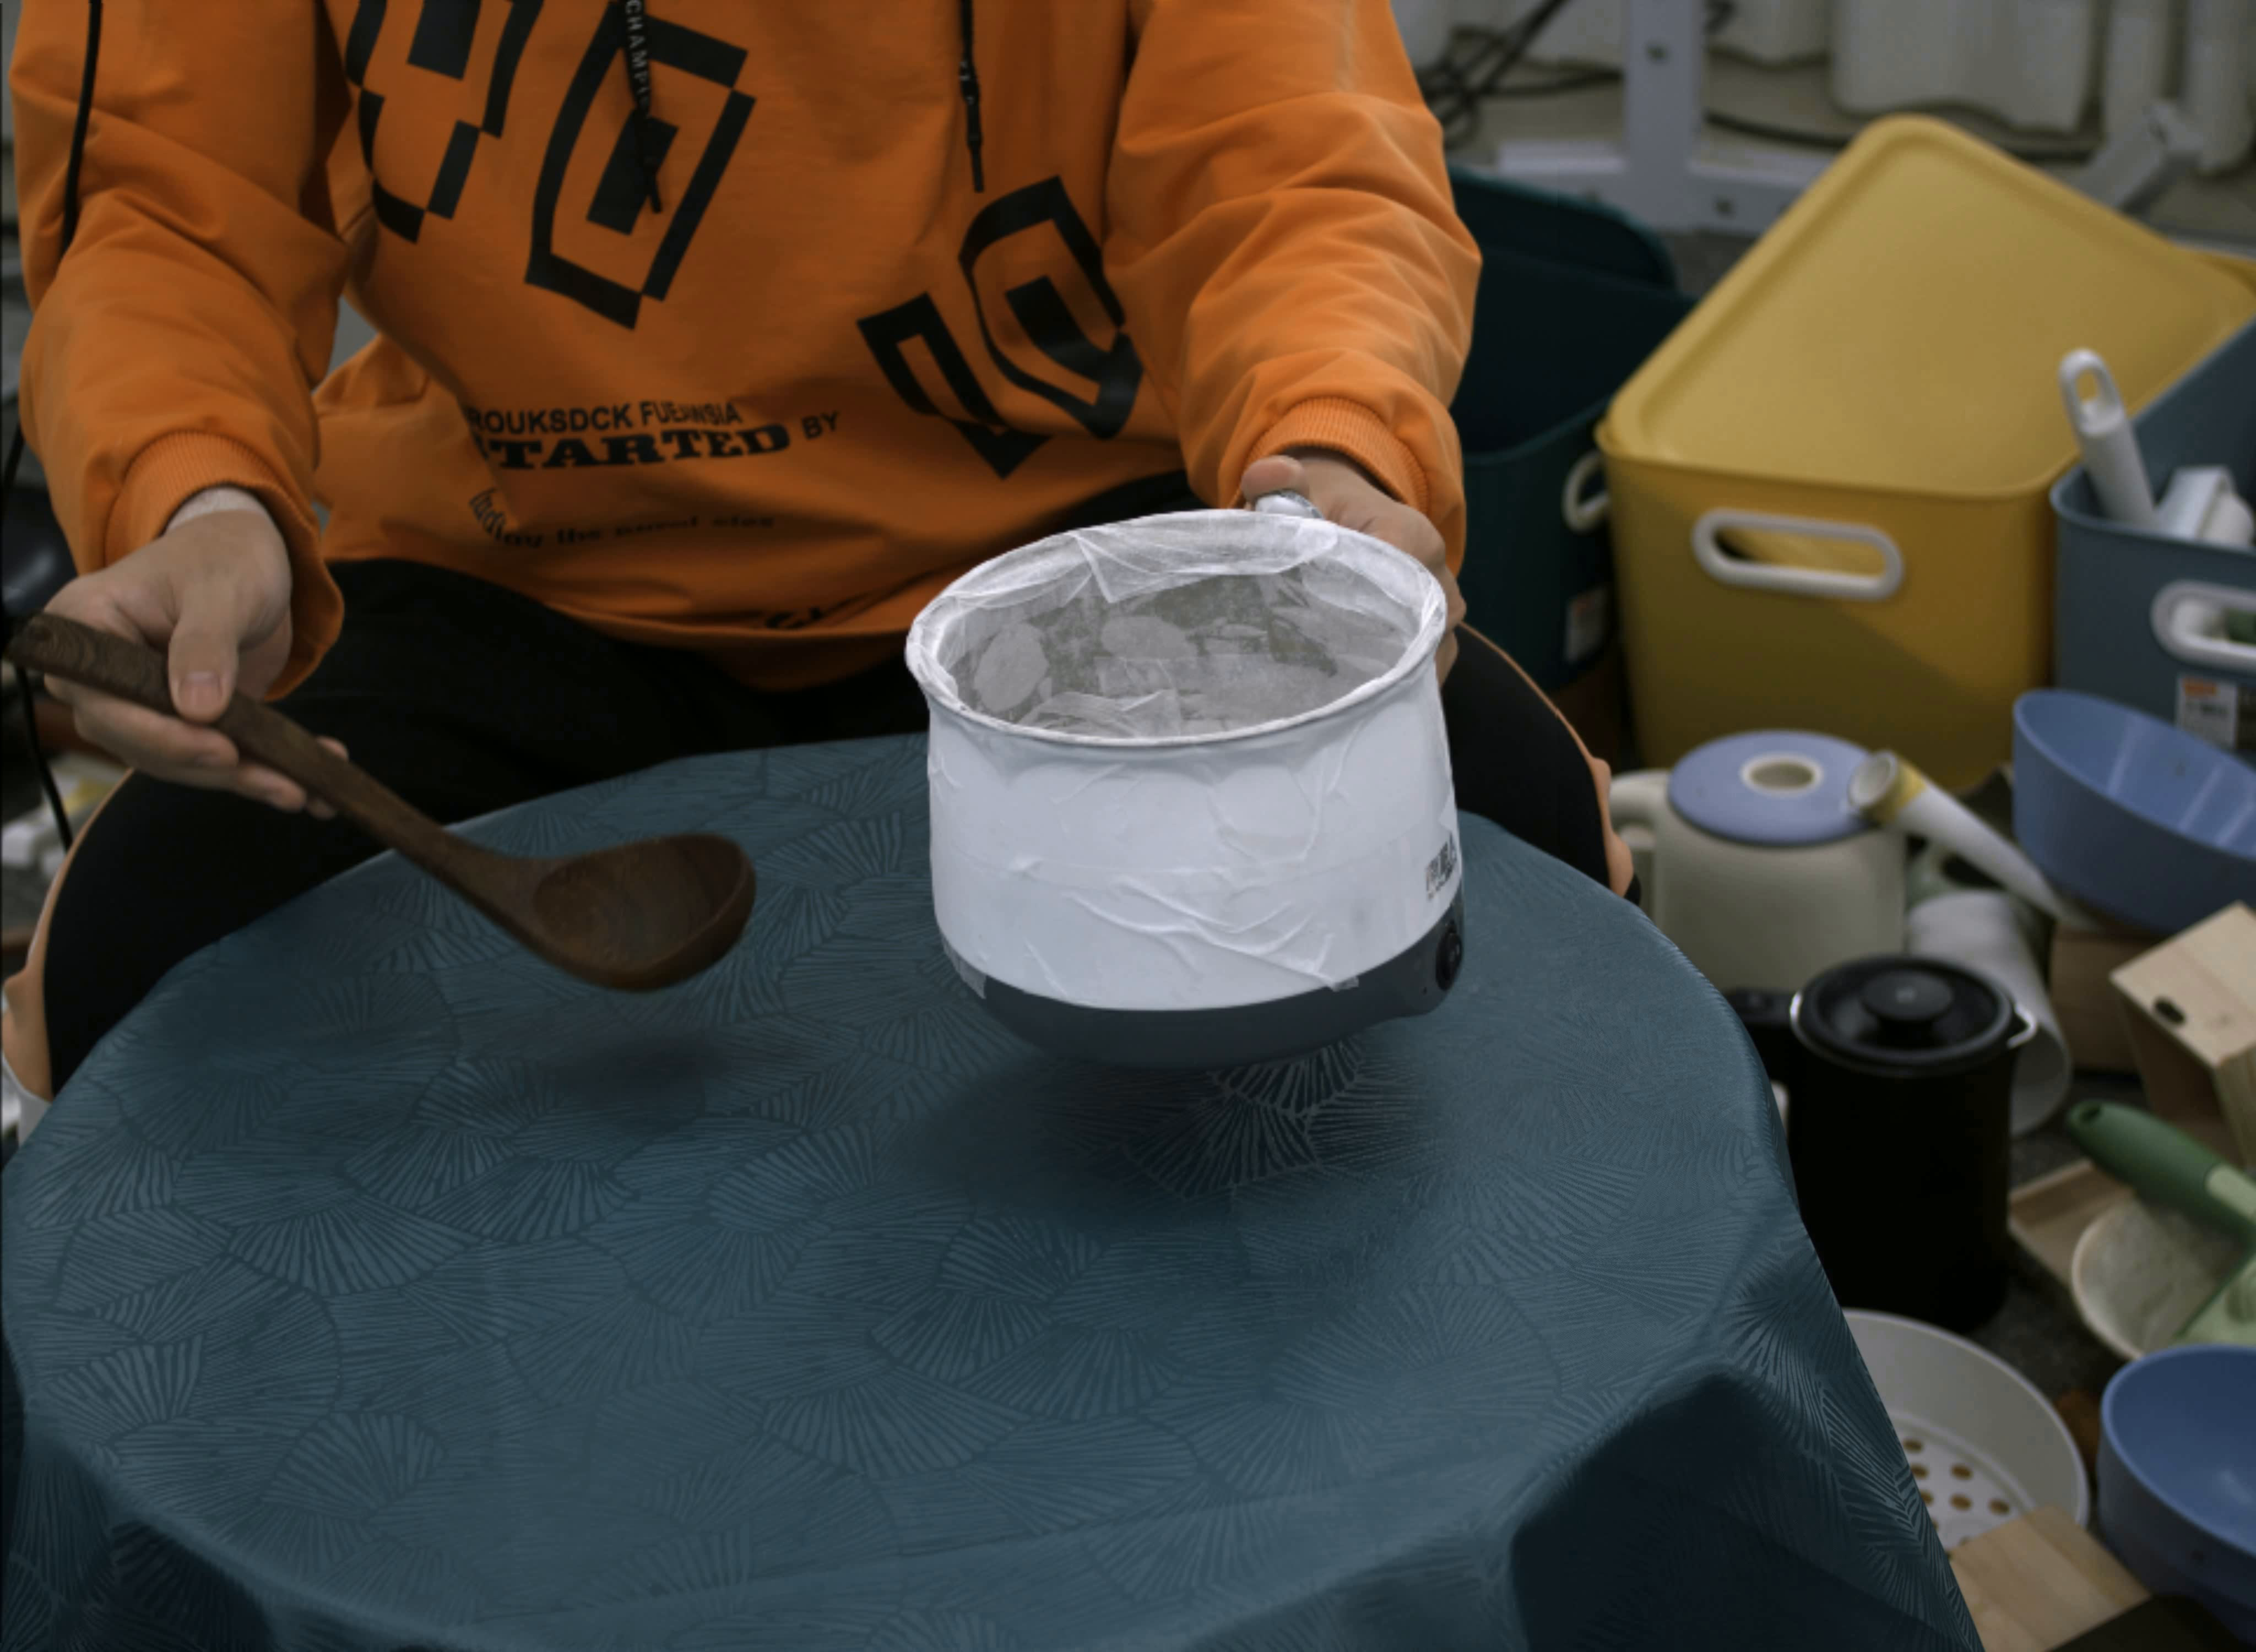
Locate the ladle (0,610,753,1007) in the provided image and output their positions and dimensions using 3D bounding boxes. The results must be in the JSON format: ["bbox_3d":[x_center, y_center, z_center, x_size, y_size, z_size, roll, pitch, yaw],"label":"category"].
[{"bbox_3d":[-0.256,-0.019,1.907,0.273,0.070,0.077,31,32,-12],"label":"ladle"}]

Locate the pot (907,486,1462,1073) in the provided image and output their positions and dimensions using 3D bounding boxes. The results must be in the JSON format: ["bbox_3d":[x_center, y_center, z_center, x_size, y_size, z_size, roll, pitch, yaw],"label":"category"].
[{"bbox_3d":[0.030,-0.023,1.883,0.177,0.135,0.238,5,28,19],"label":"pot"}]
